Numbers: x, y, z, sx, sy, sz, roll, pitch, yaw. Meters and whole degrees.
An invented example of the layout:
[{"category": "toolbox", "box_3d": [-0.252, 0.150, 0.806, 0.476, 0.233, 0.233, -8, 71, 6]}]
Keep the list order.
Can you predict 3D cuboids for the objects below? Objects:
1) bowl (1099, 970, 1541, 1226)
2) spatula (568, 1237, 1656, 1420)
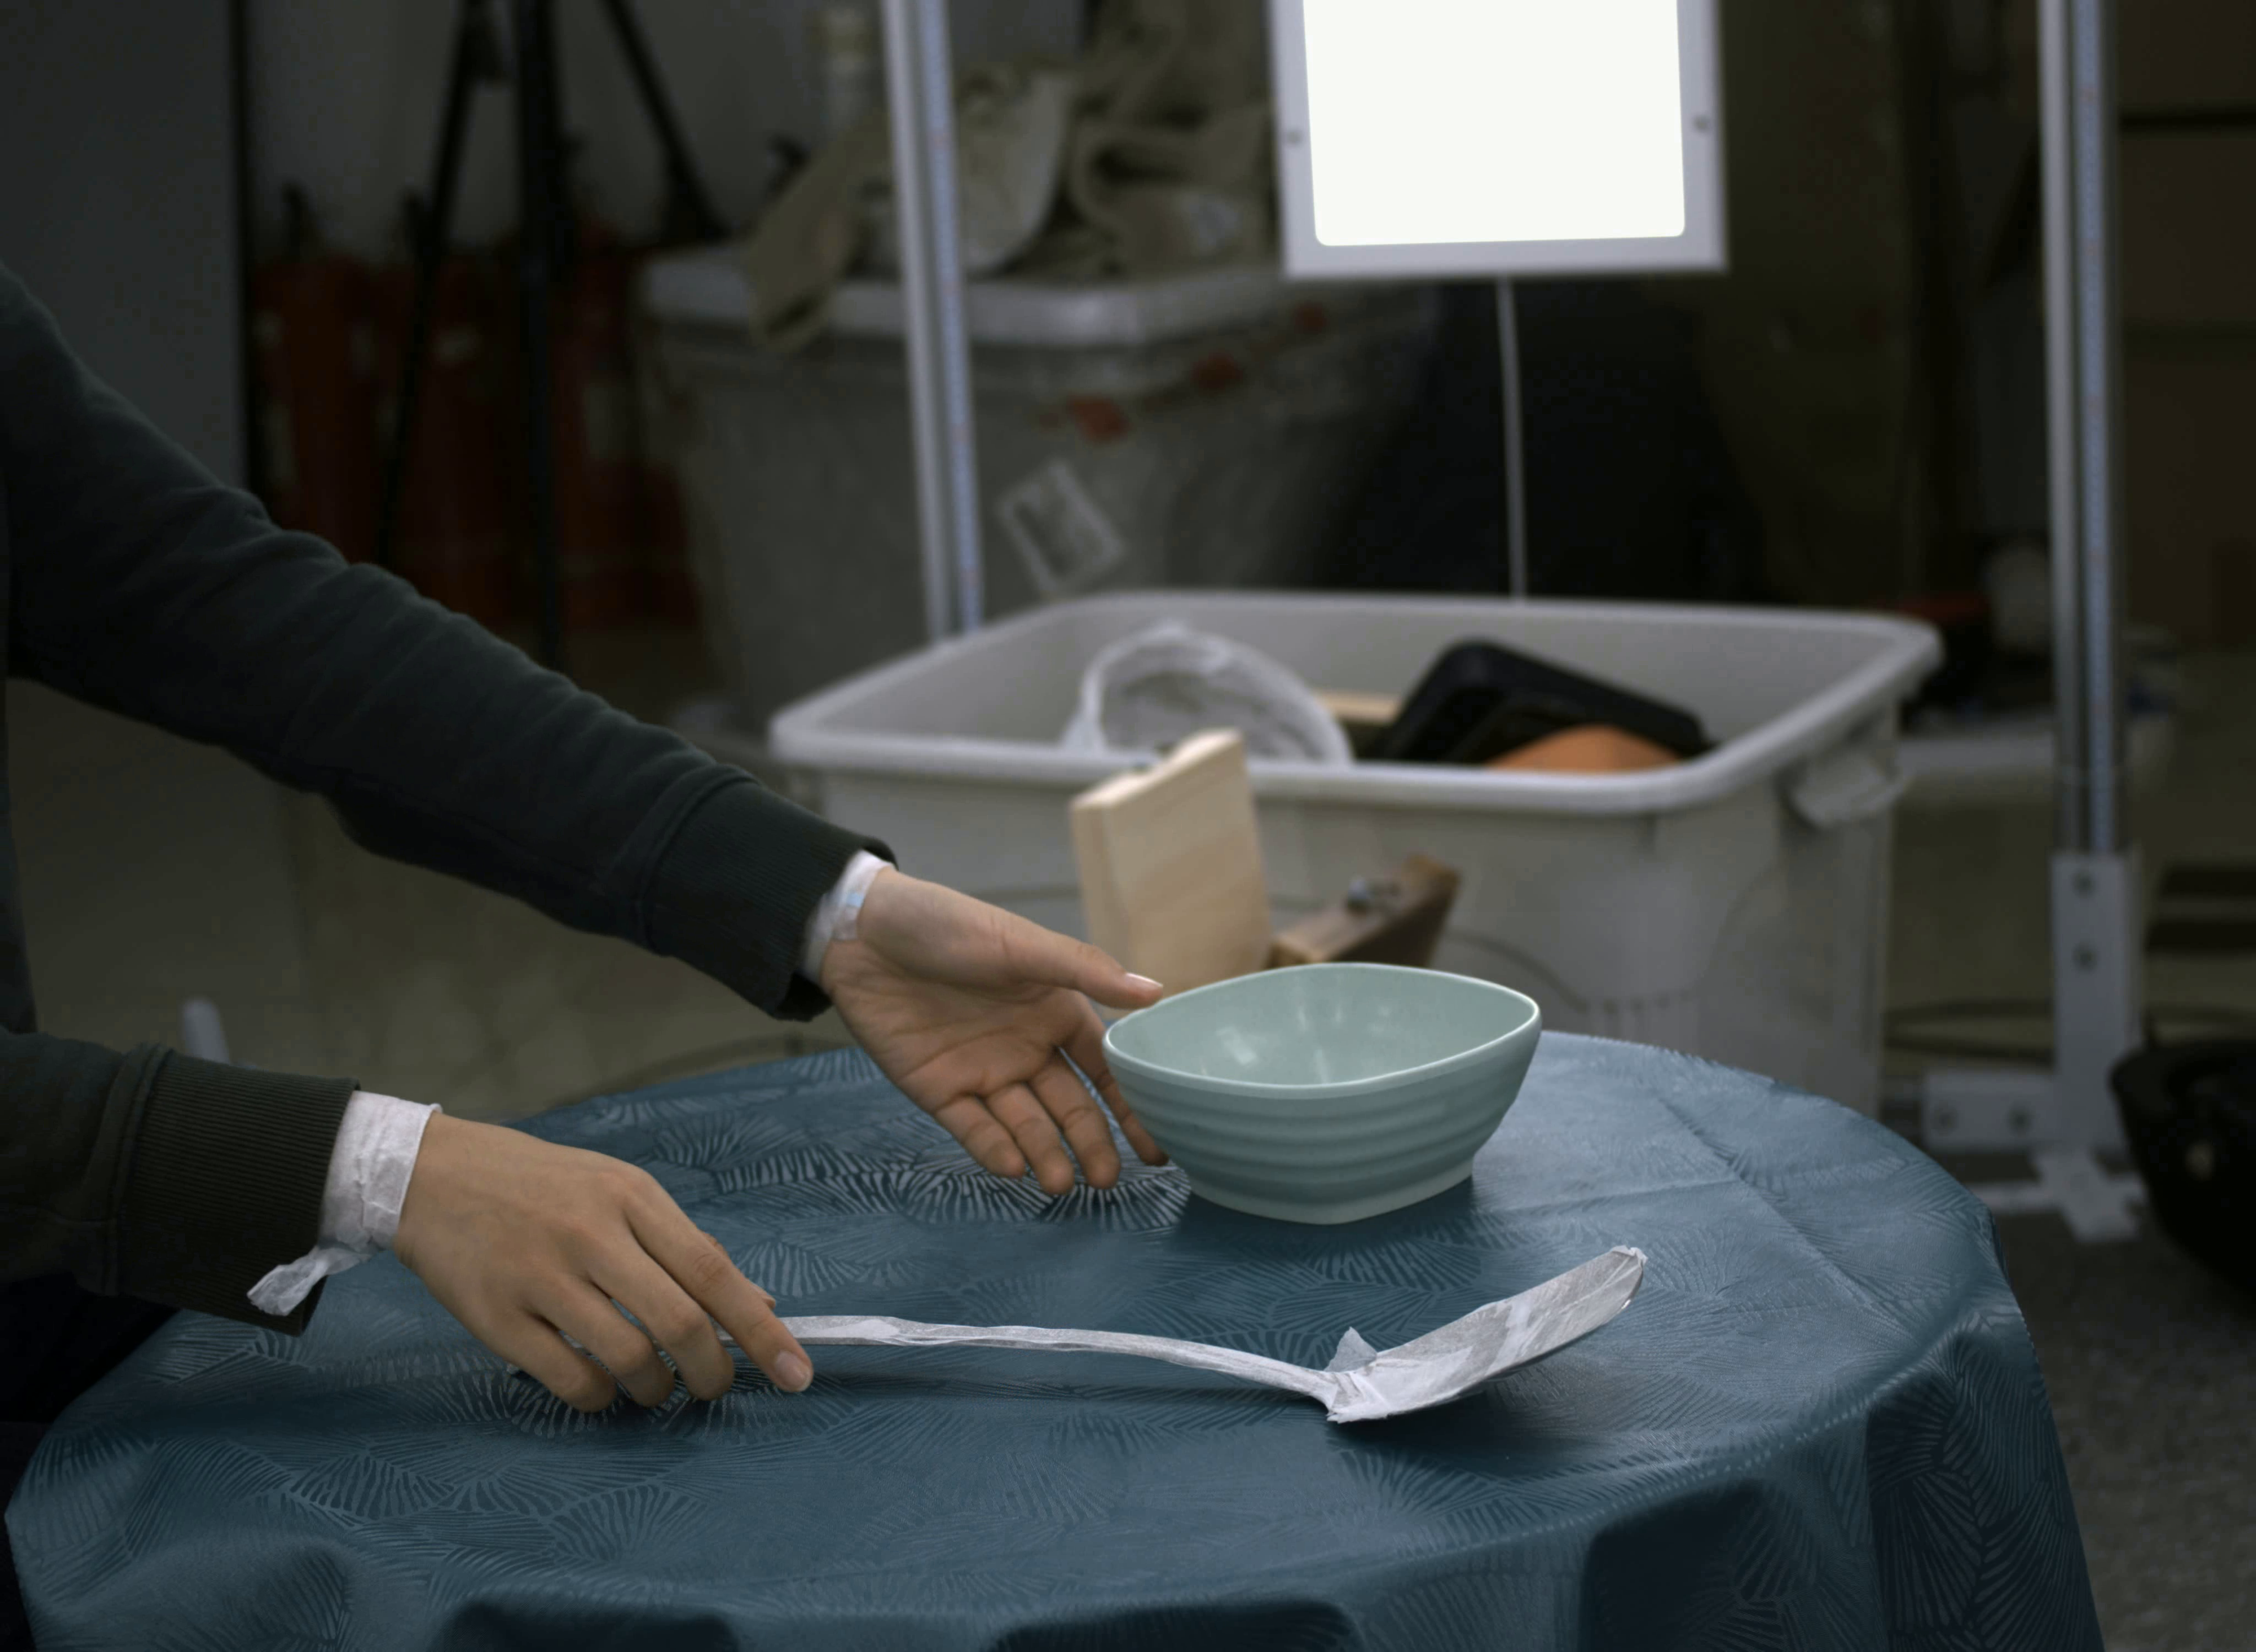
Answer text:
[{"category": "bowl", "box_3d": [0.066, 0.095, 1.883, 0.151, 0.059, 0.151, -2, 13, -1]}, {"category": "spatula", "box_3d": [-0.016, 0.154, 1.707, 0.370, 0.045, 0.097, 1, 17, 22]}]
